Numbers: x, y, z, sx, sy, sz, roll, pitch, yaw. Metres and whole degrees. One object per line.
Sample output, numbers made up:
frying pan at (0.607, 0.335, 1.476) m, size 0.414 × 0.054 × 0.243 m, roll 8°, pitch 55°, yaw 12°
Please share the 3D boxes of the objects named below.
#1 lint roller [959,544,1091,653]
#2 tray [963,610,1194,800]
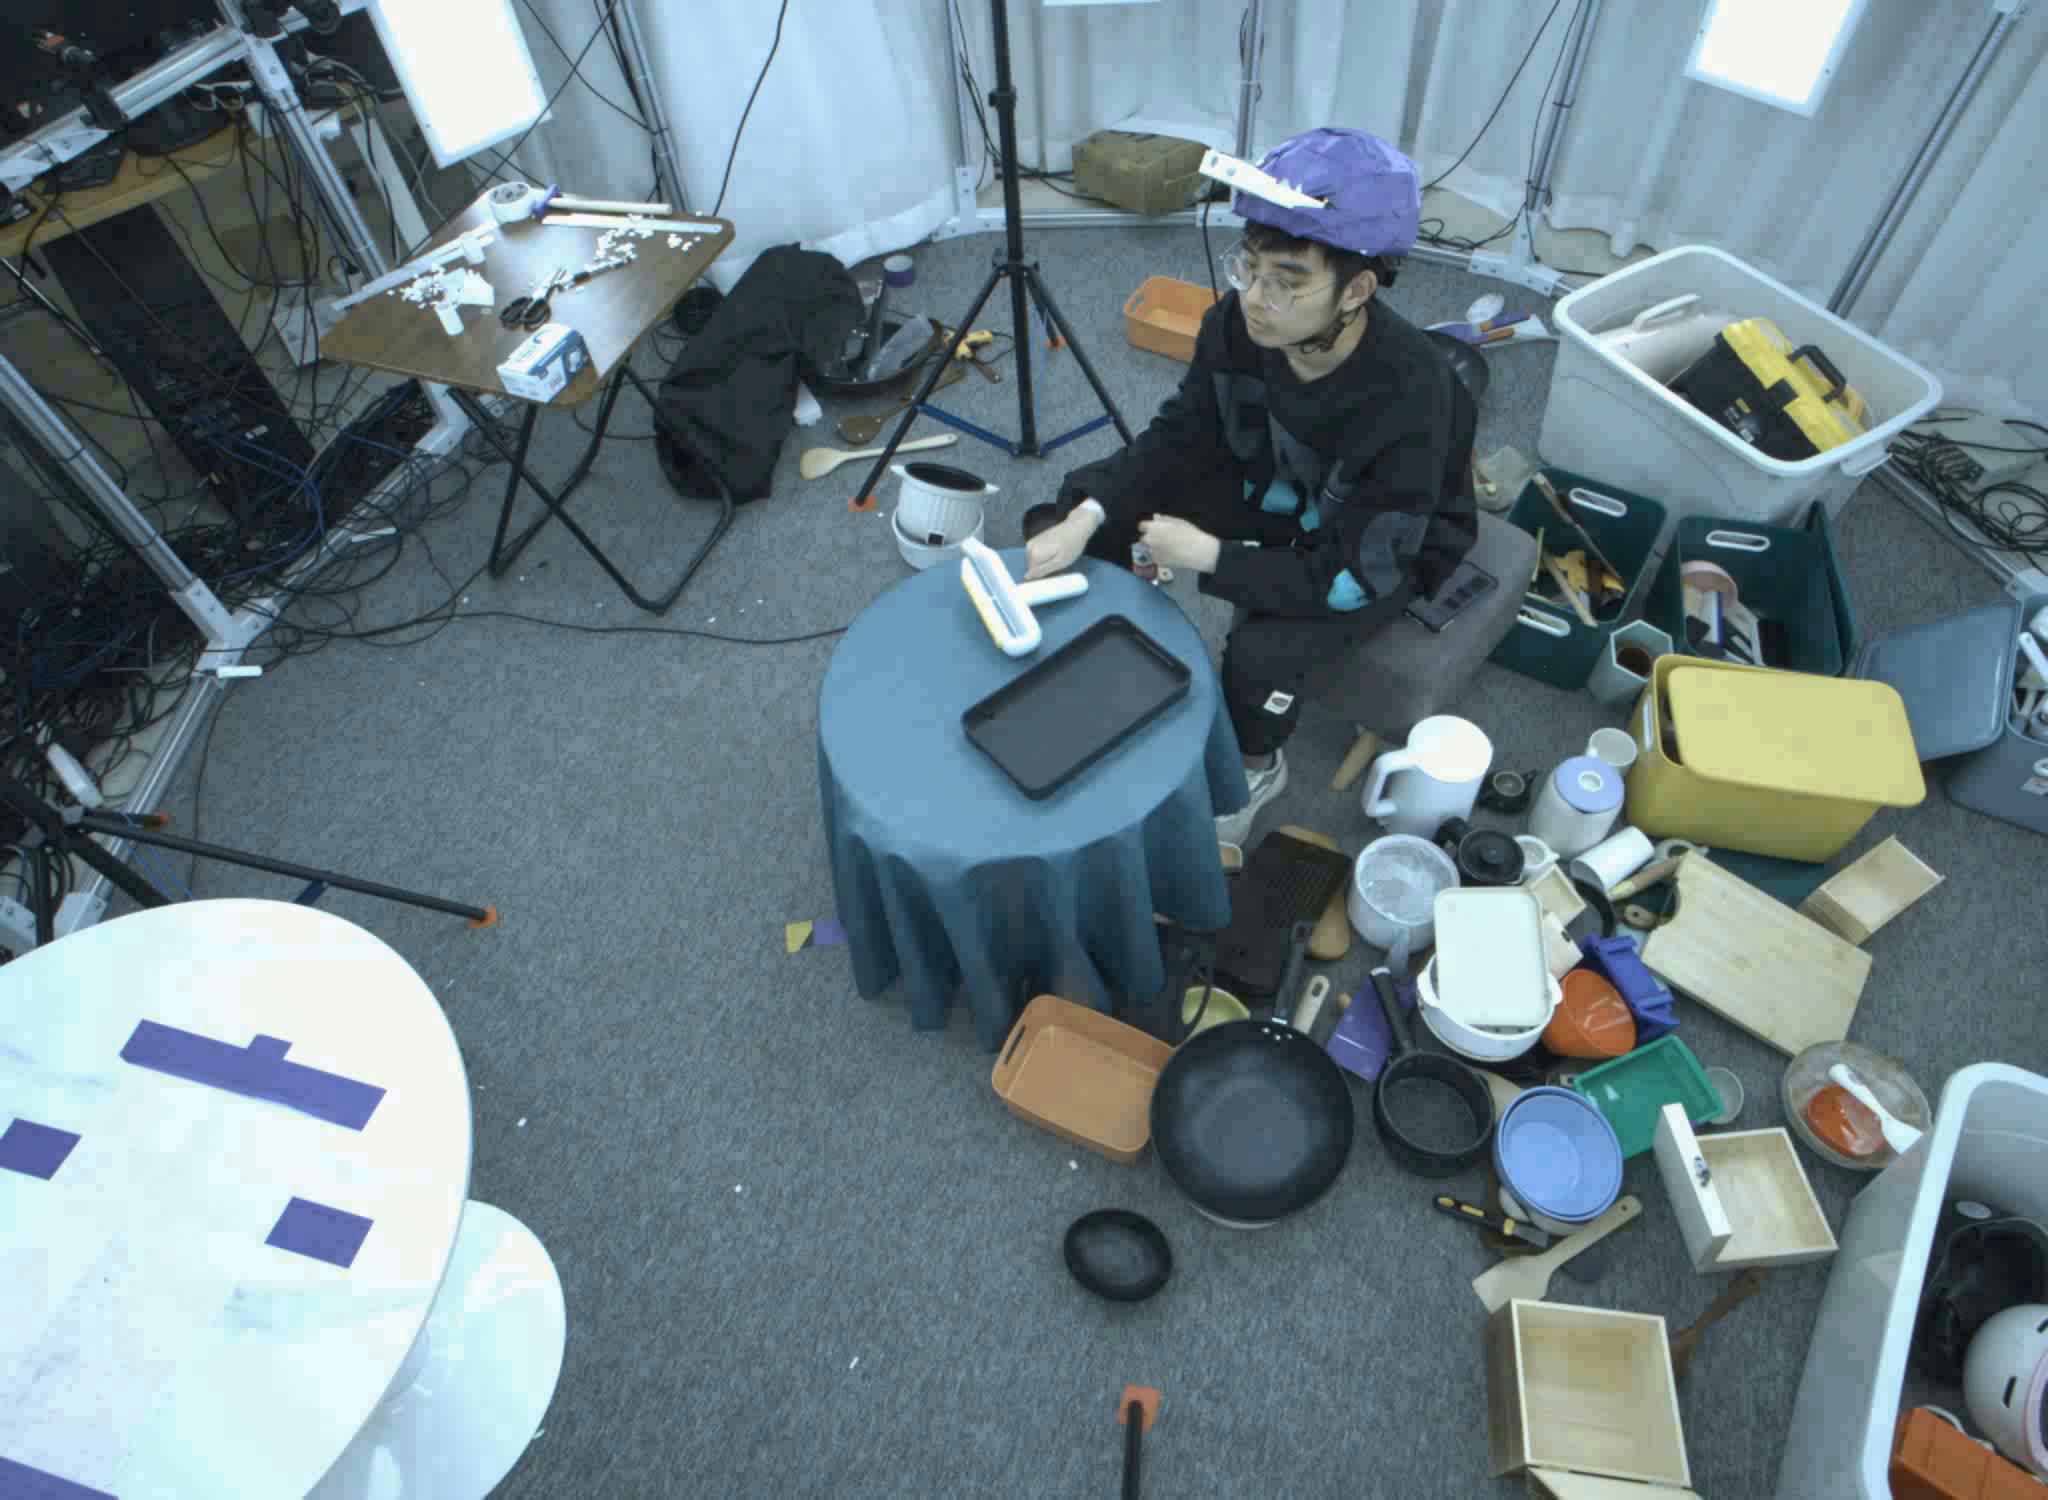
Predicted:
lint roller at (0.014, -0.249, 1.918) m, size 0.194 × 0.075 × 0.190 m, roll -19°, pitch 62°, yaw -13°
tray at (0.082, -0.072, 1.809) m, size 0.320 × 0.037 × 0.181 m, roll -37°, pitch 61°, yaw -22°
